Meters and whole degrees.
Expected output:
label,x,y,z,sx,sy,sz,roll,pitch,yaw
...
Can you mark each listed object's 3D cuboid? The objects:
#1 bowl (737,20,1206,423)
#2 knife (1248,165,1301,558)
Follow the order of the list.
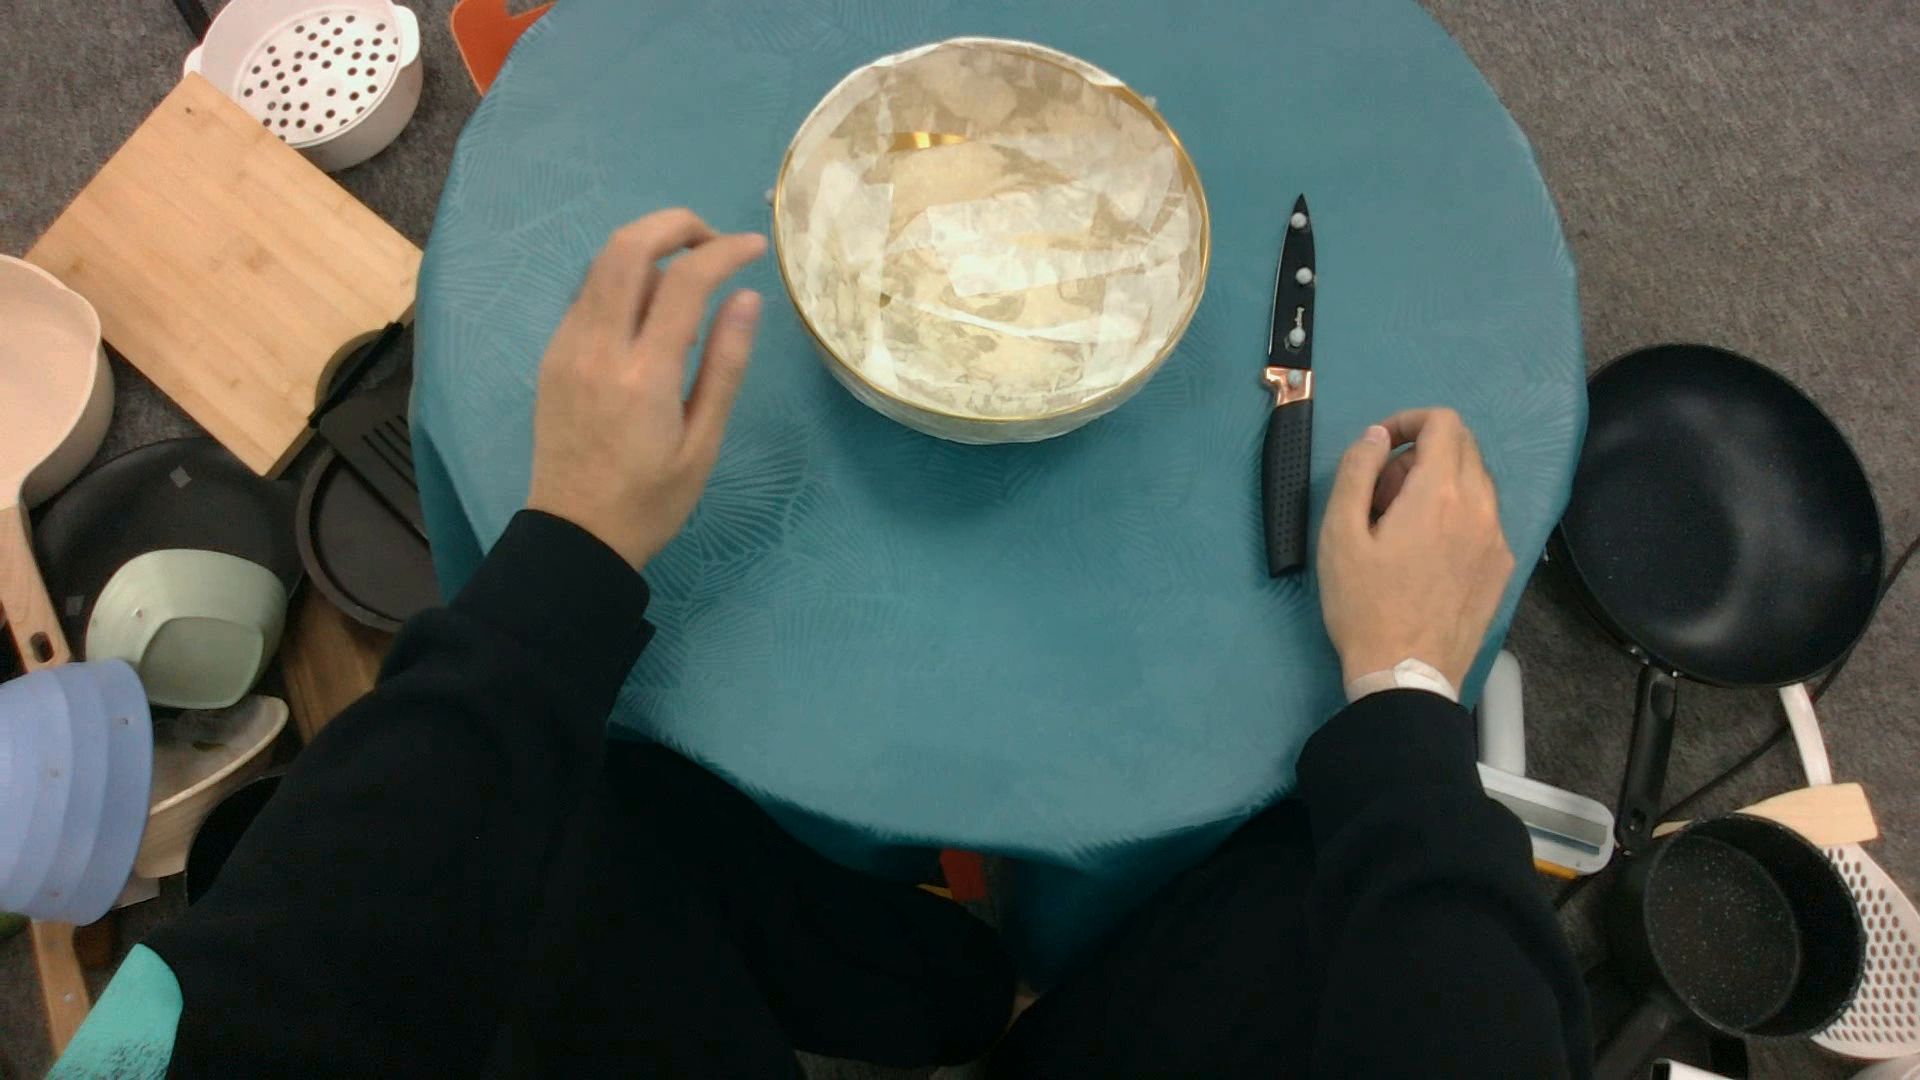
label,x,y,z,sx,sy,sz,roll,pitch,yaw
bowl,0.006,-0.136,0.660,0.215,0.094,0.215,2,69,-4
knife,0.160,-0.097,0.702,0.026,0.017,0.226,3,68,5
